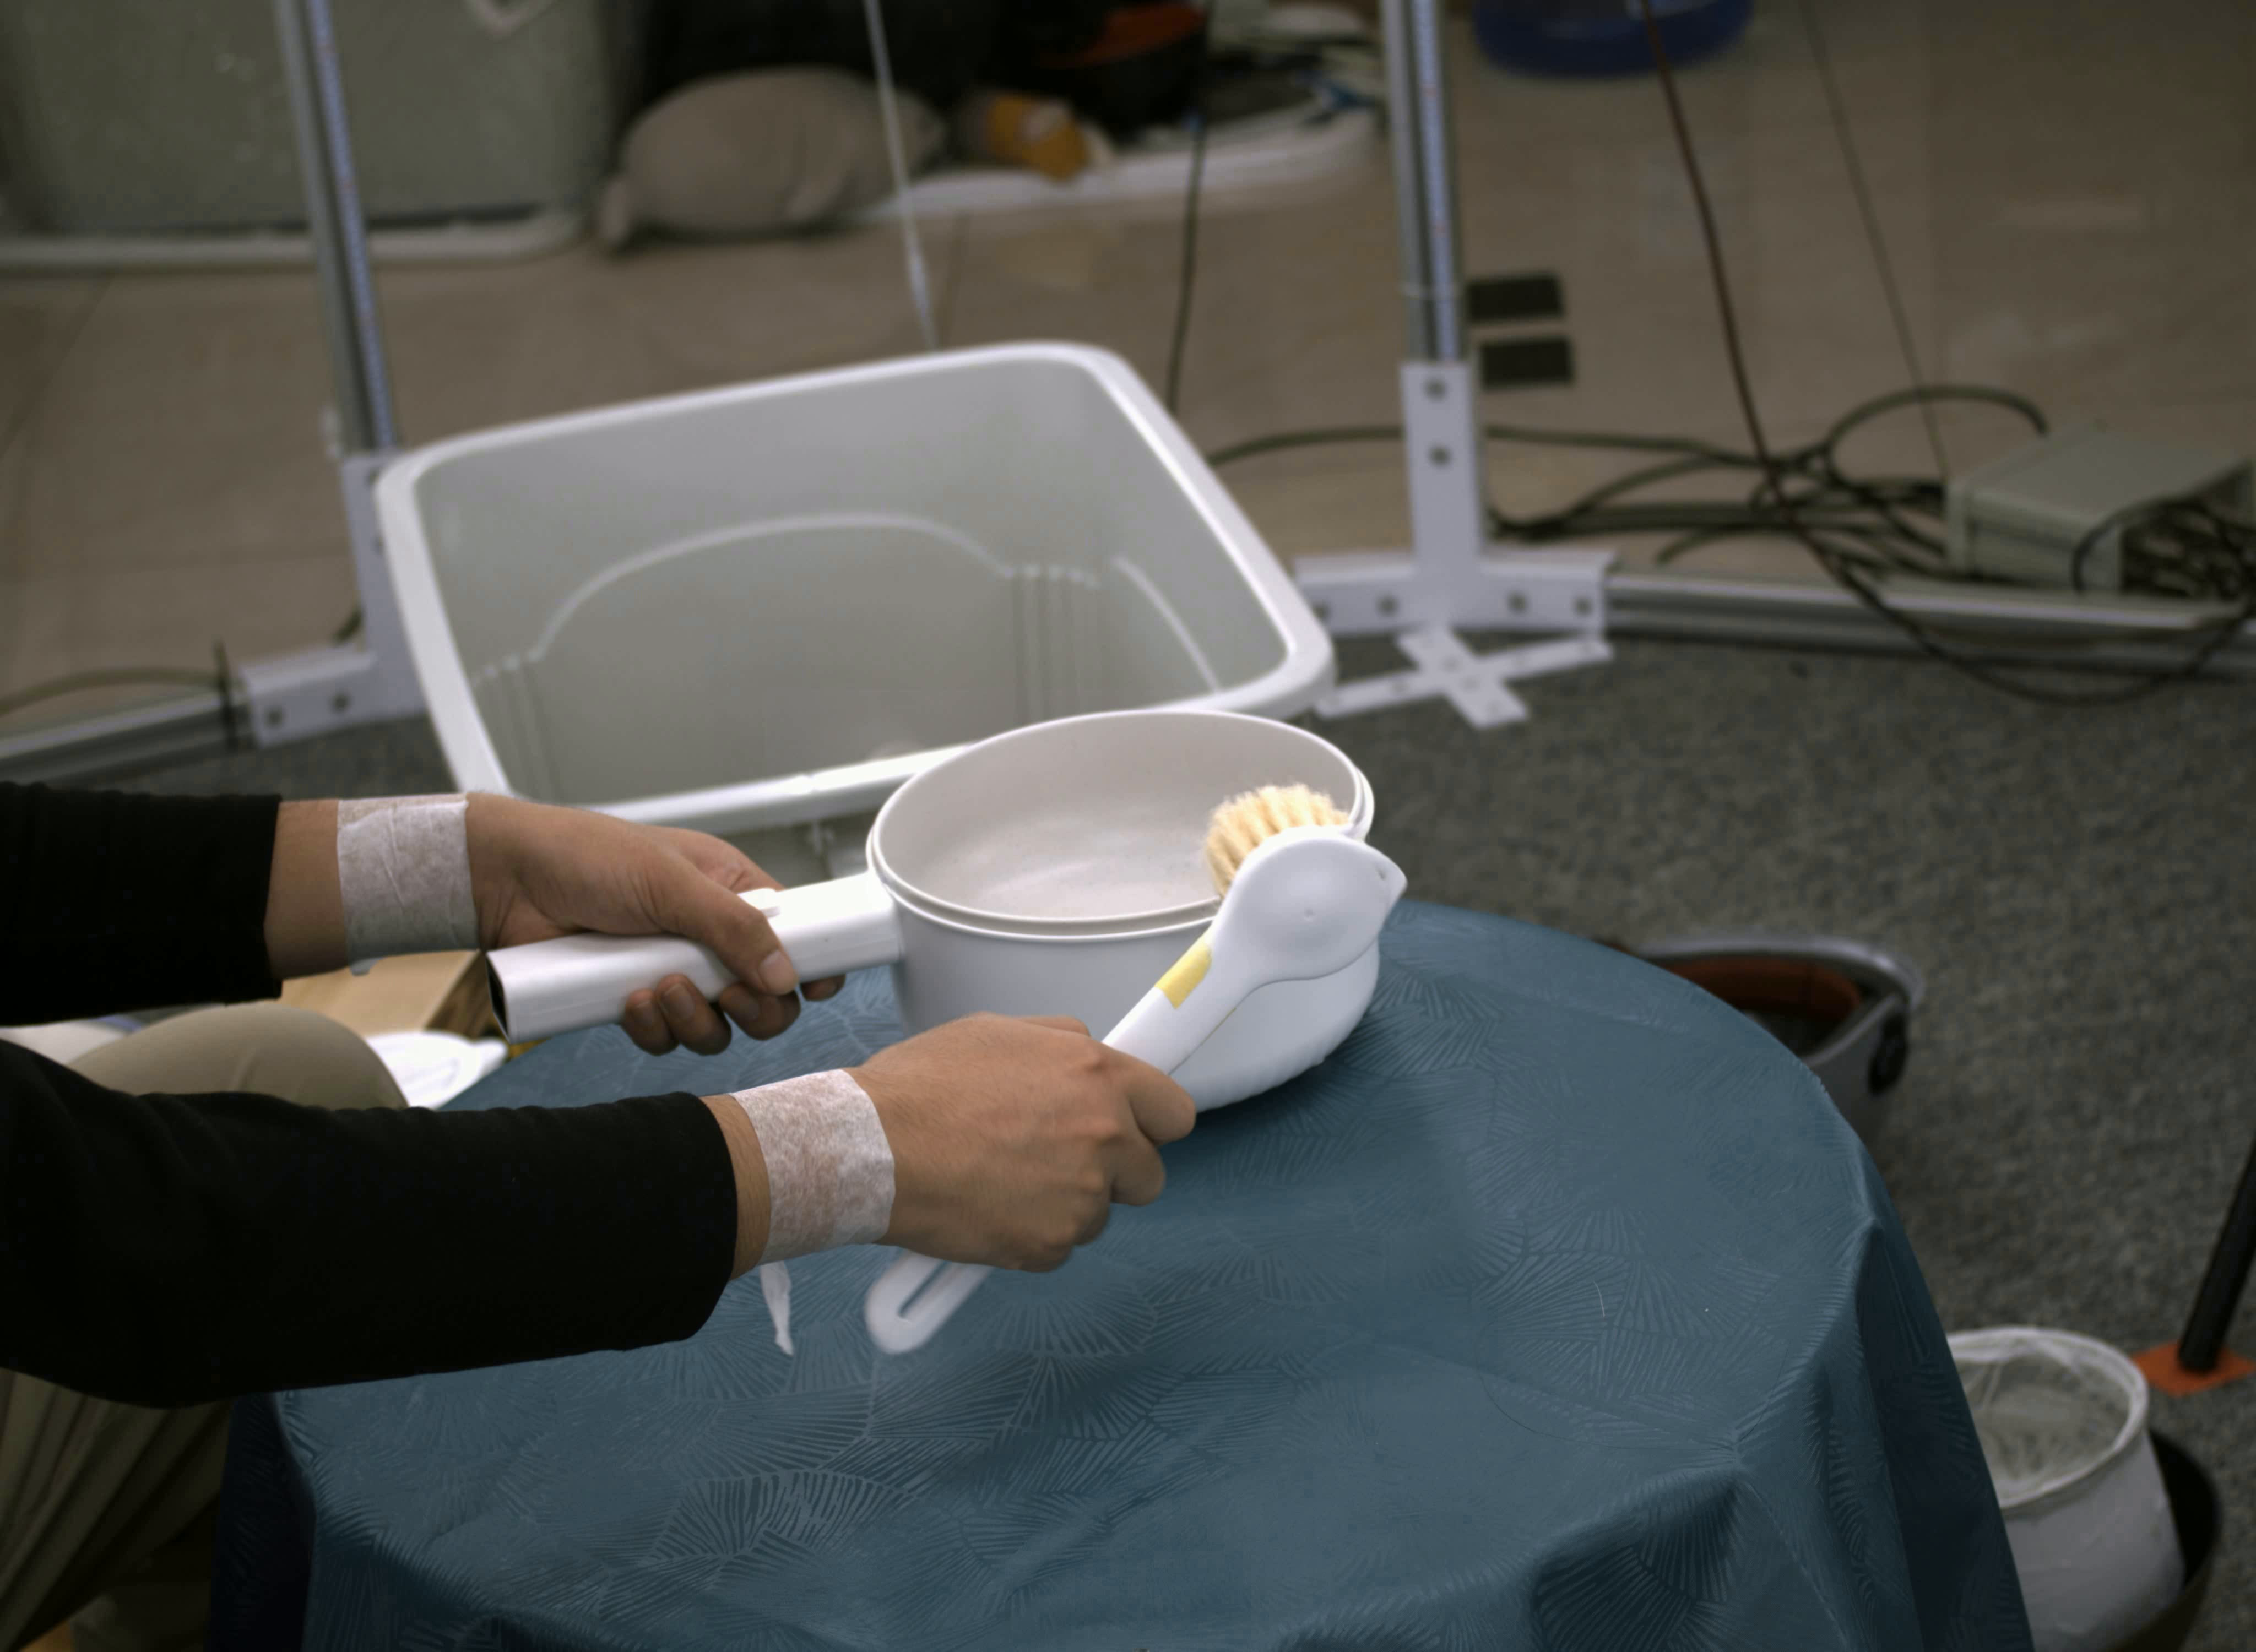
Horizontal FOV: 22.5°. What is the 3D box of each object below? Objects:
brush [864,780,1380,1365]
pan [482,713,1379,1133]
[{"bbox_3d":[-0.011,0.087,2.025,0.265,0.069,0.056,-47,23,-14],"label":"brush"},{"bbox_3d":[-0.072,0.059,2.223,0.353,0.104,0.198,-14,27,-13],"label":"pan"}]
